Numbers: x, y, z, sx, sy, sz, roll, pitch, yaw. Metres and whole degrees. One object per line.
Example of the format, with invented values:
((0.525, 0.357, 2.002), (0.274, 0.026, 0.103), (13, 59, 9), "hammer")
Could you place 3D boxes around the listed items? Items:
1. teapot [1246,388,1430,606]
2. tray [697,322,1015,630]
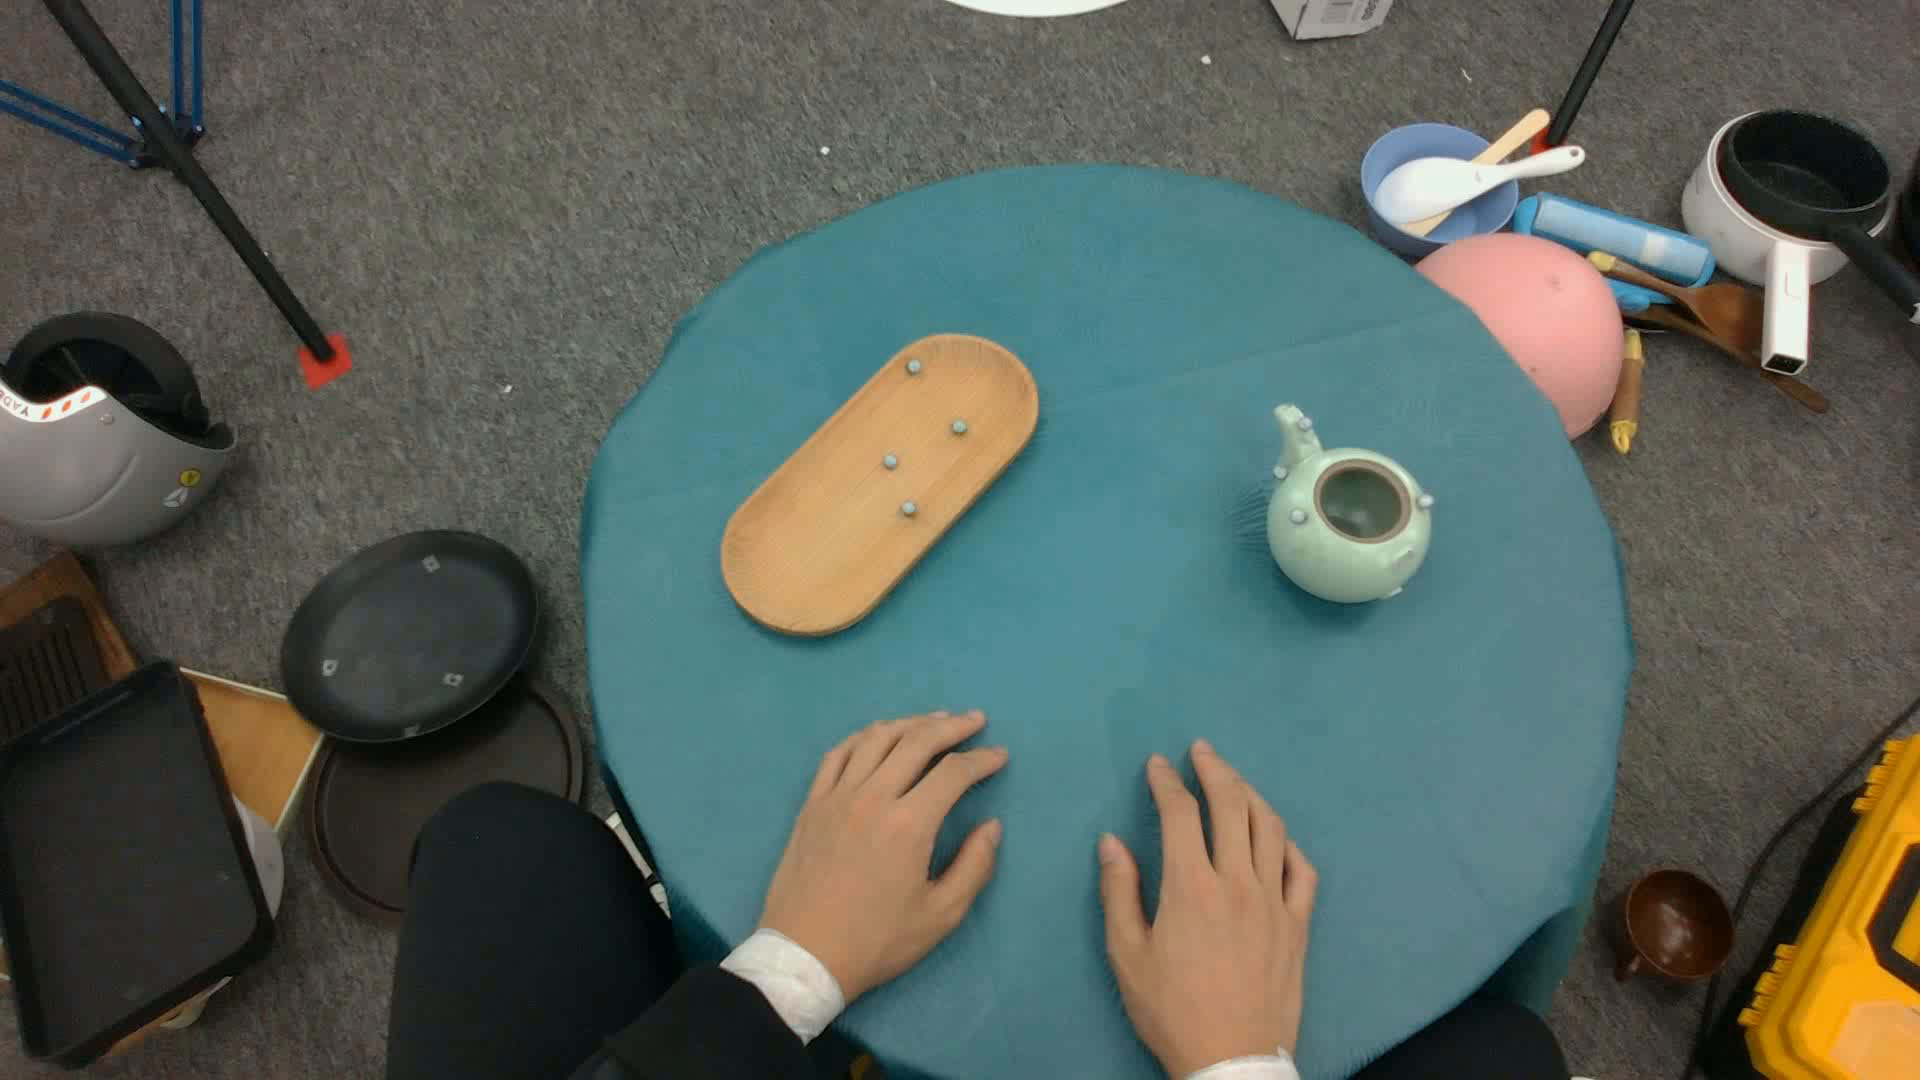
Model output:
((0.206, -0.017, 0.775), (0.088, 0.074, 0.144), (-28, 66, -14), "teapot")
((-0.058, -0.041, 0.810), (0.102, 0.020, 0.232), (35, 69, 16), "tray")
